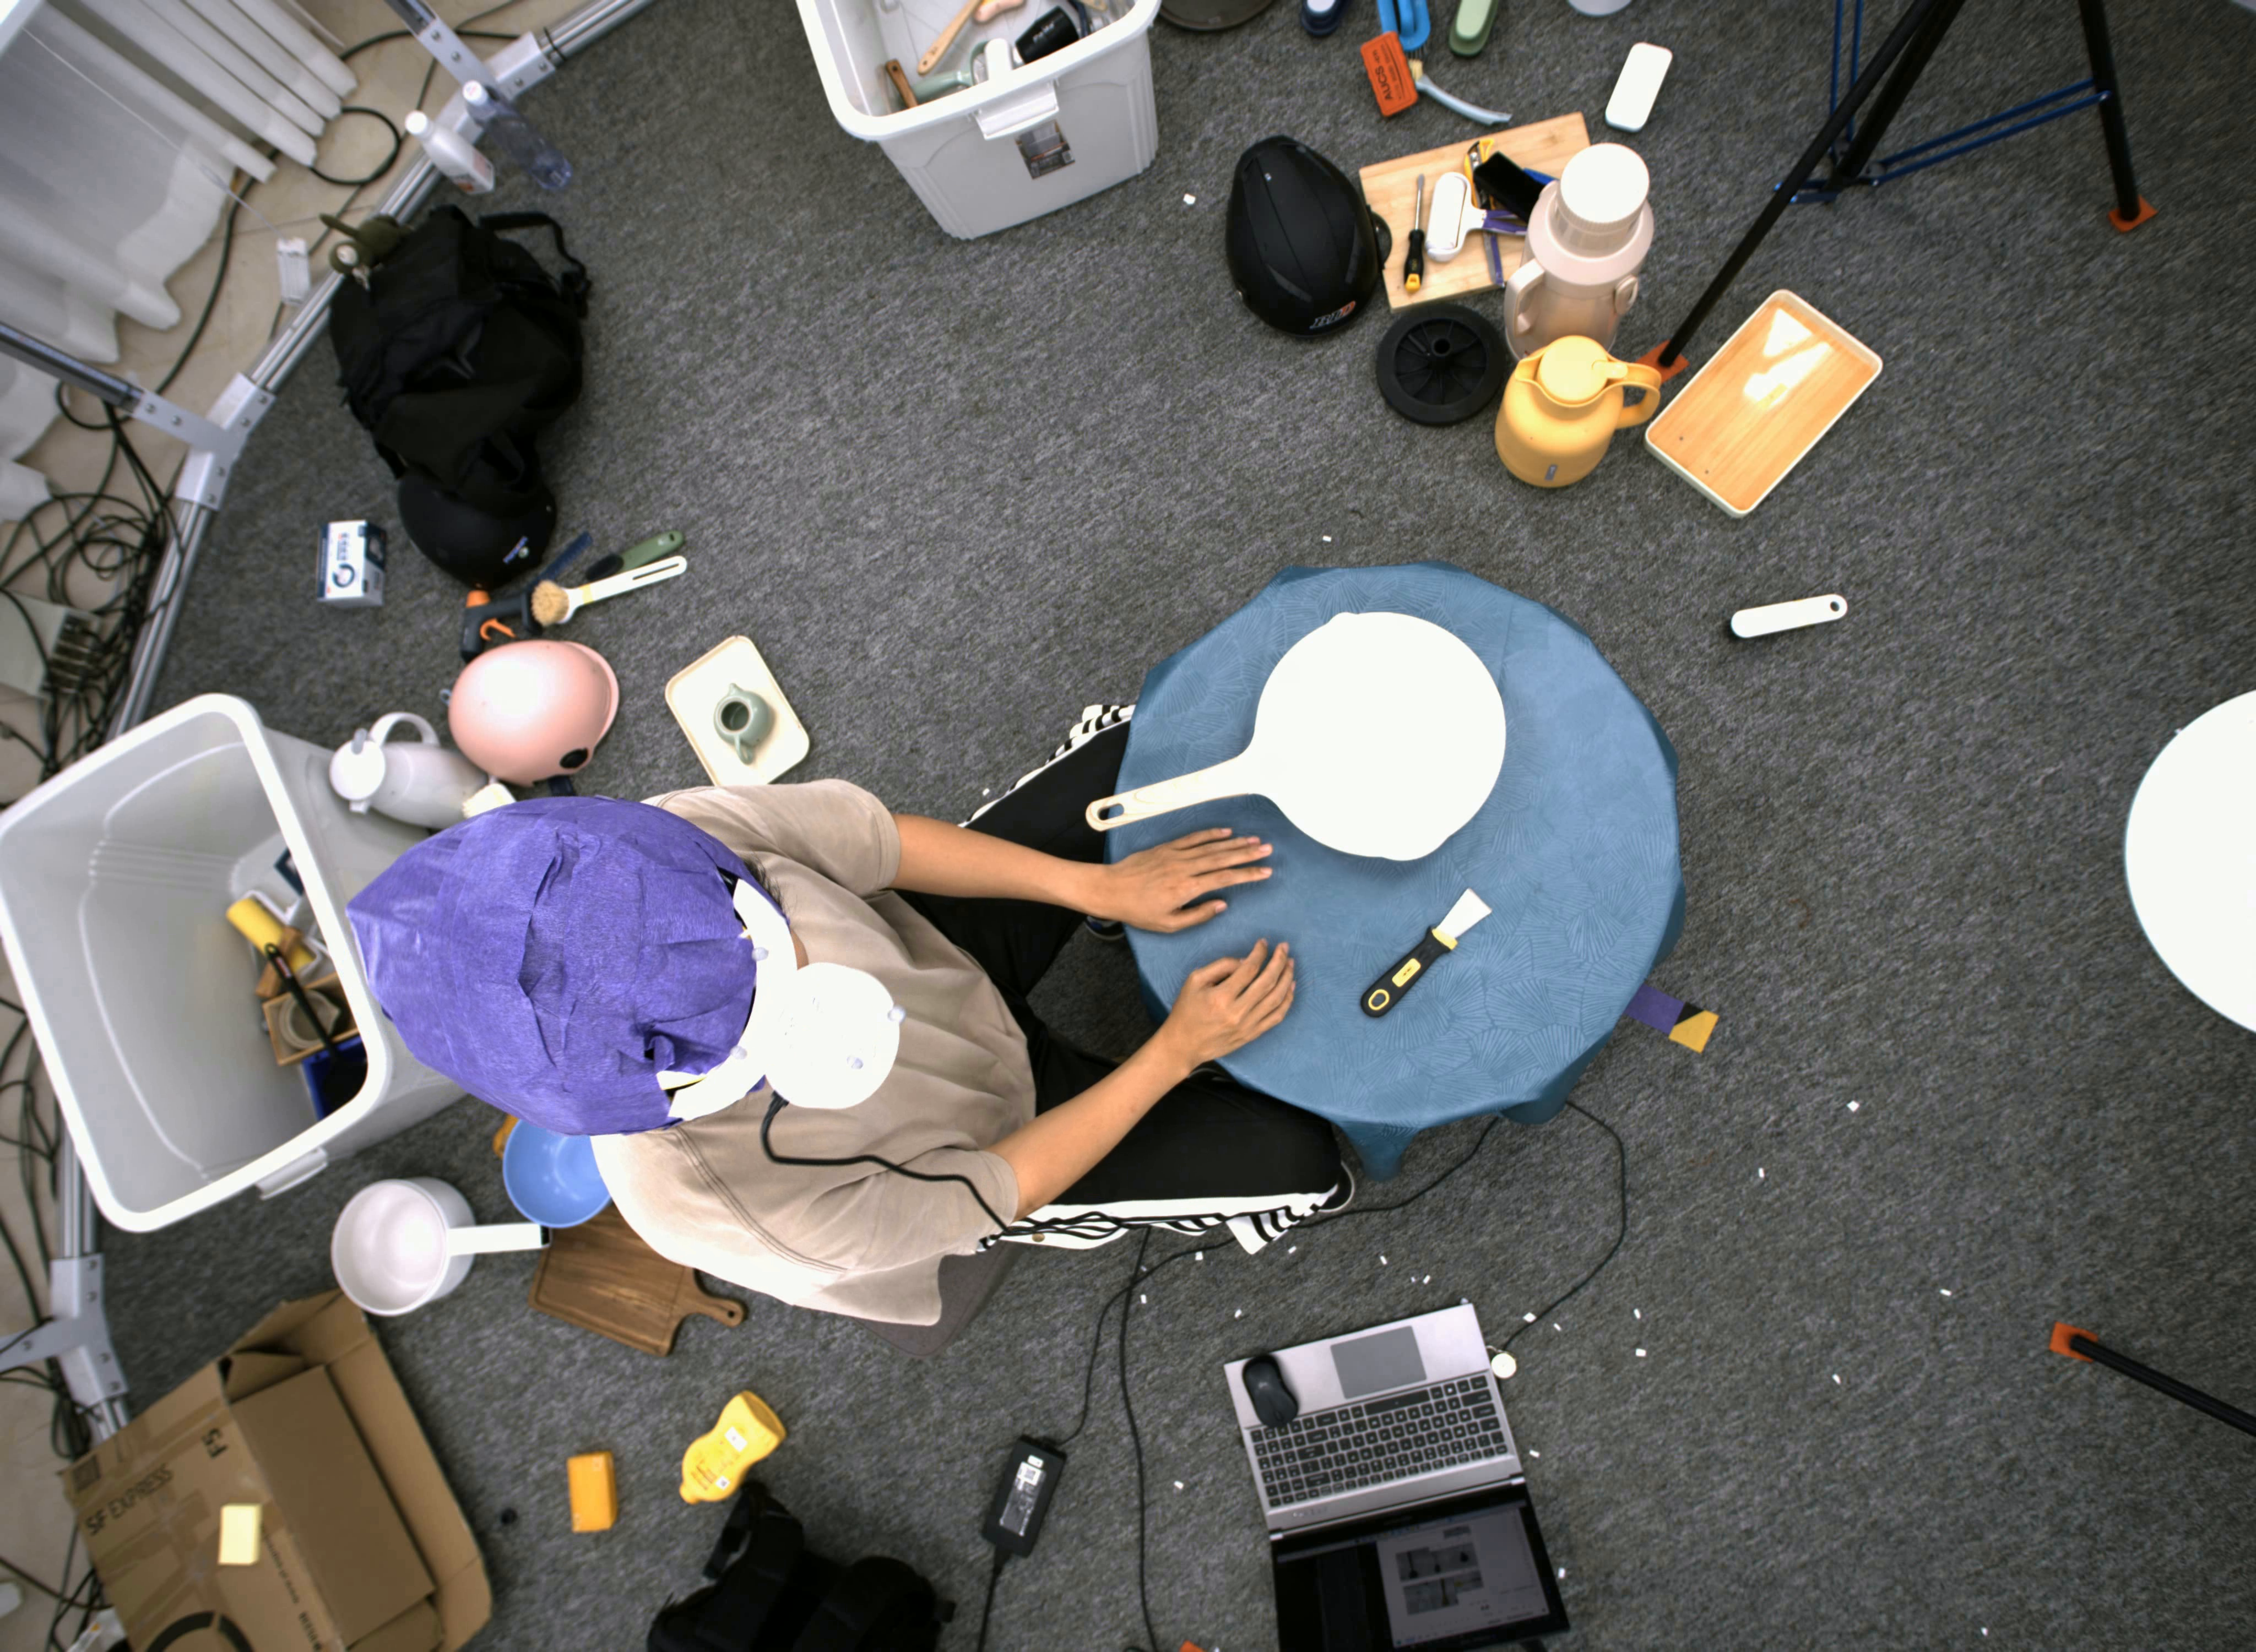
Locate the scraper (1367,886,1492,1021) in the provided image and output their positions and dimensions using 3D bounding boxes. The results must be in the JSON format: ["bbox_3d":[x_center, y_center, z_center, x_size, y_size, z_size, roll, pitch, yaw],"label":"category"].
[{"bbox_3d":[0.312,0.135,1.442,0.039,0.015,0.171,43,92,5],"label":"scraper"}]

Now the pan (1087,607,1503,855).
[{"bbox_3d":[0.170,-0.069,1.441,0.437,0.102,0.262,-18,86,9],"label":"pan"}]
